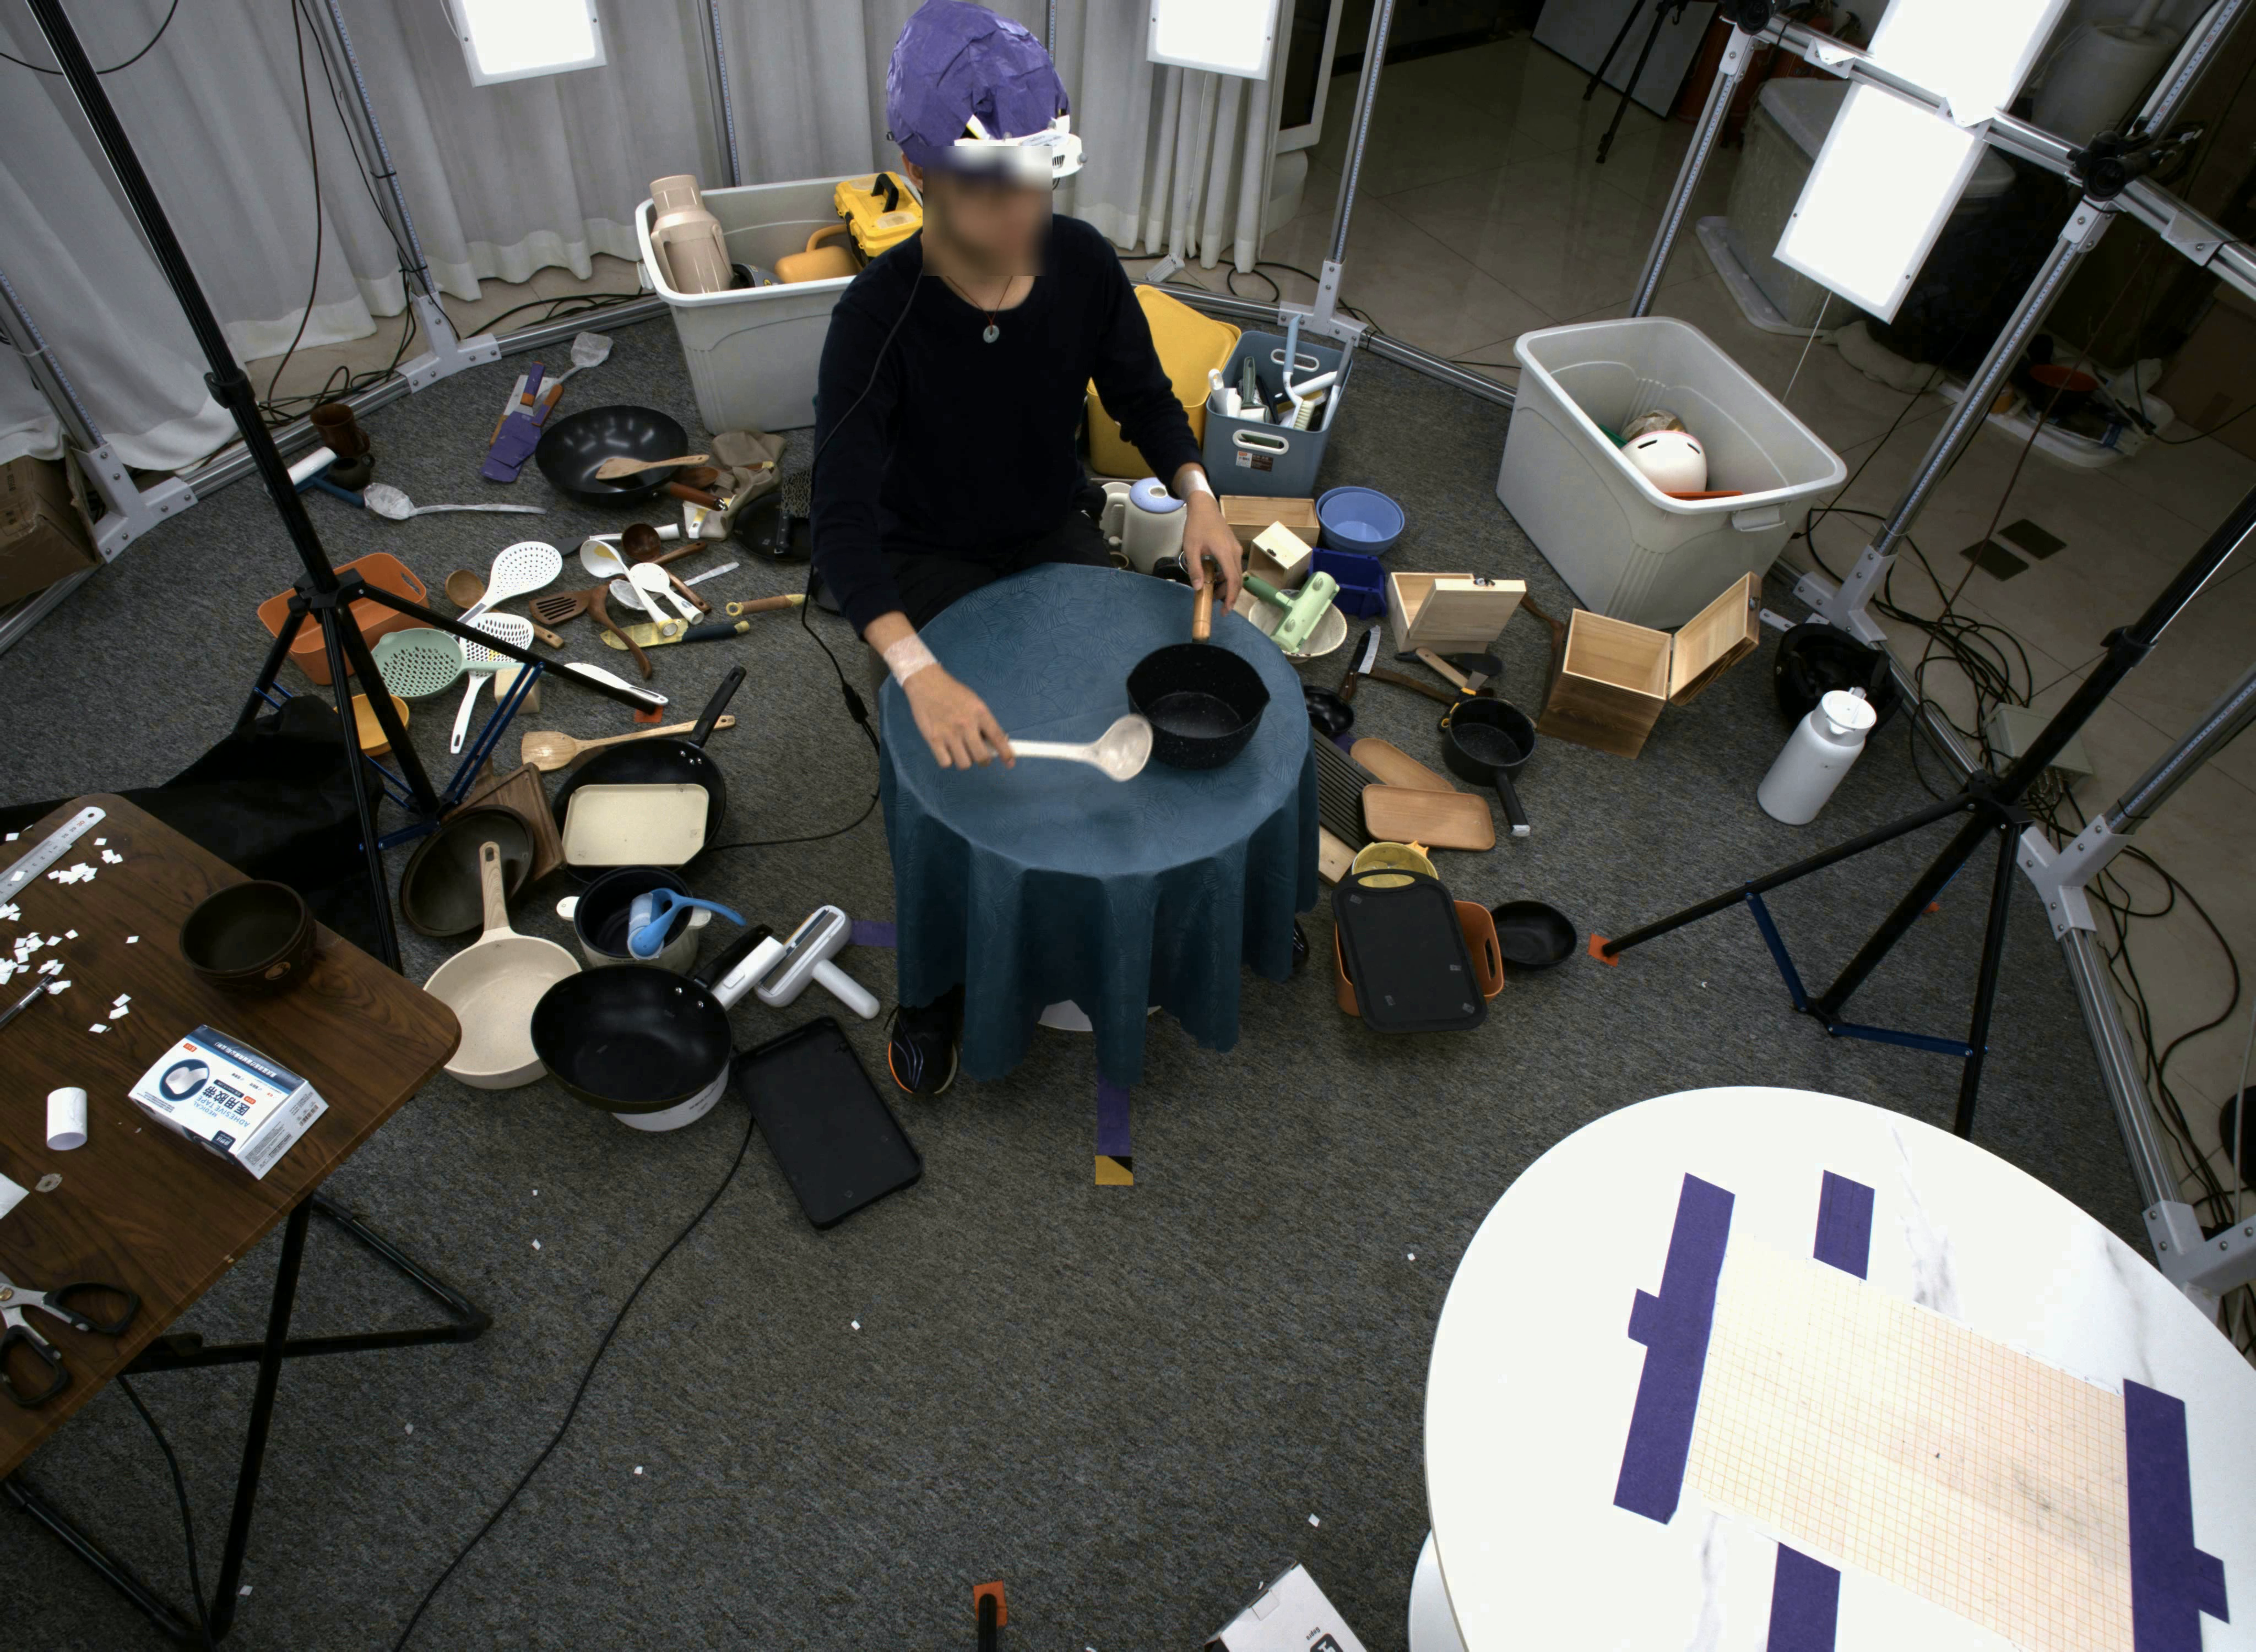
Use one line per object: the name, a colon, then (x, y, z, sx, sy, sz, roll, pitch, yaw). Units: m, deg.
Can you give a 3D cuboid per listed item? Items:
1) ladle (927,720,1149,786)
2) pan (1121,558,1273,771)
ladle: (-0.111, -0.098, 1.613, 0.274, 0.068, 0.091, 3, 67, -14)
pan: (0.097, -0.228, 1.803, 0.207, 0.105, 0.351, 4, 50, 1)
